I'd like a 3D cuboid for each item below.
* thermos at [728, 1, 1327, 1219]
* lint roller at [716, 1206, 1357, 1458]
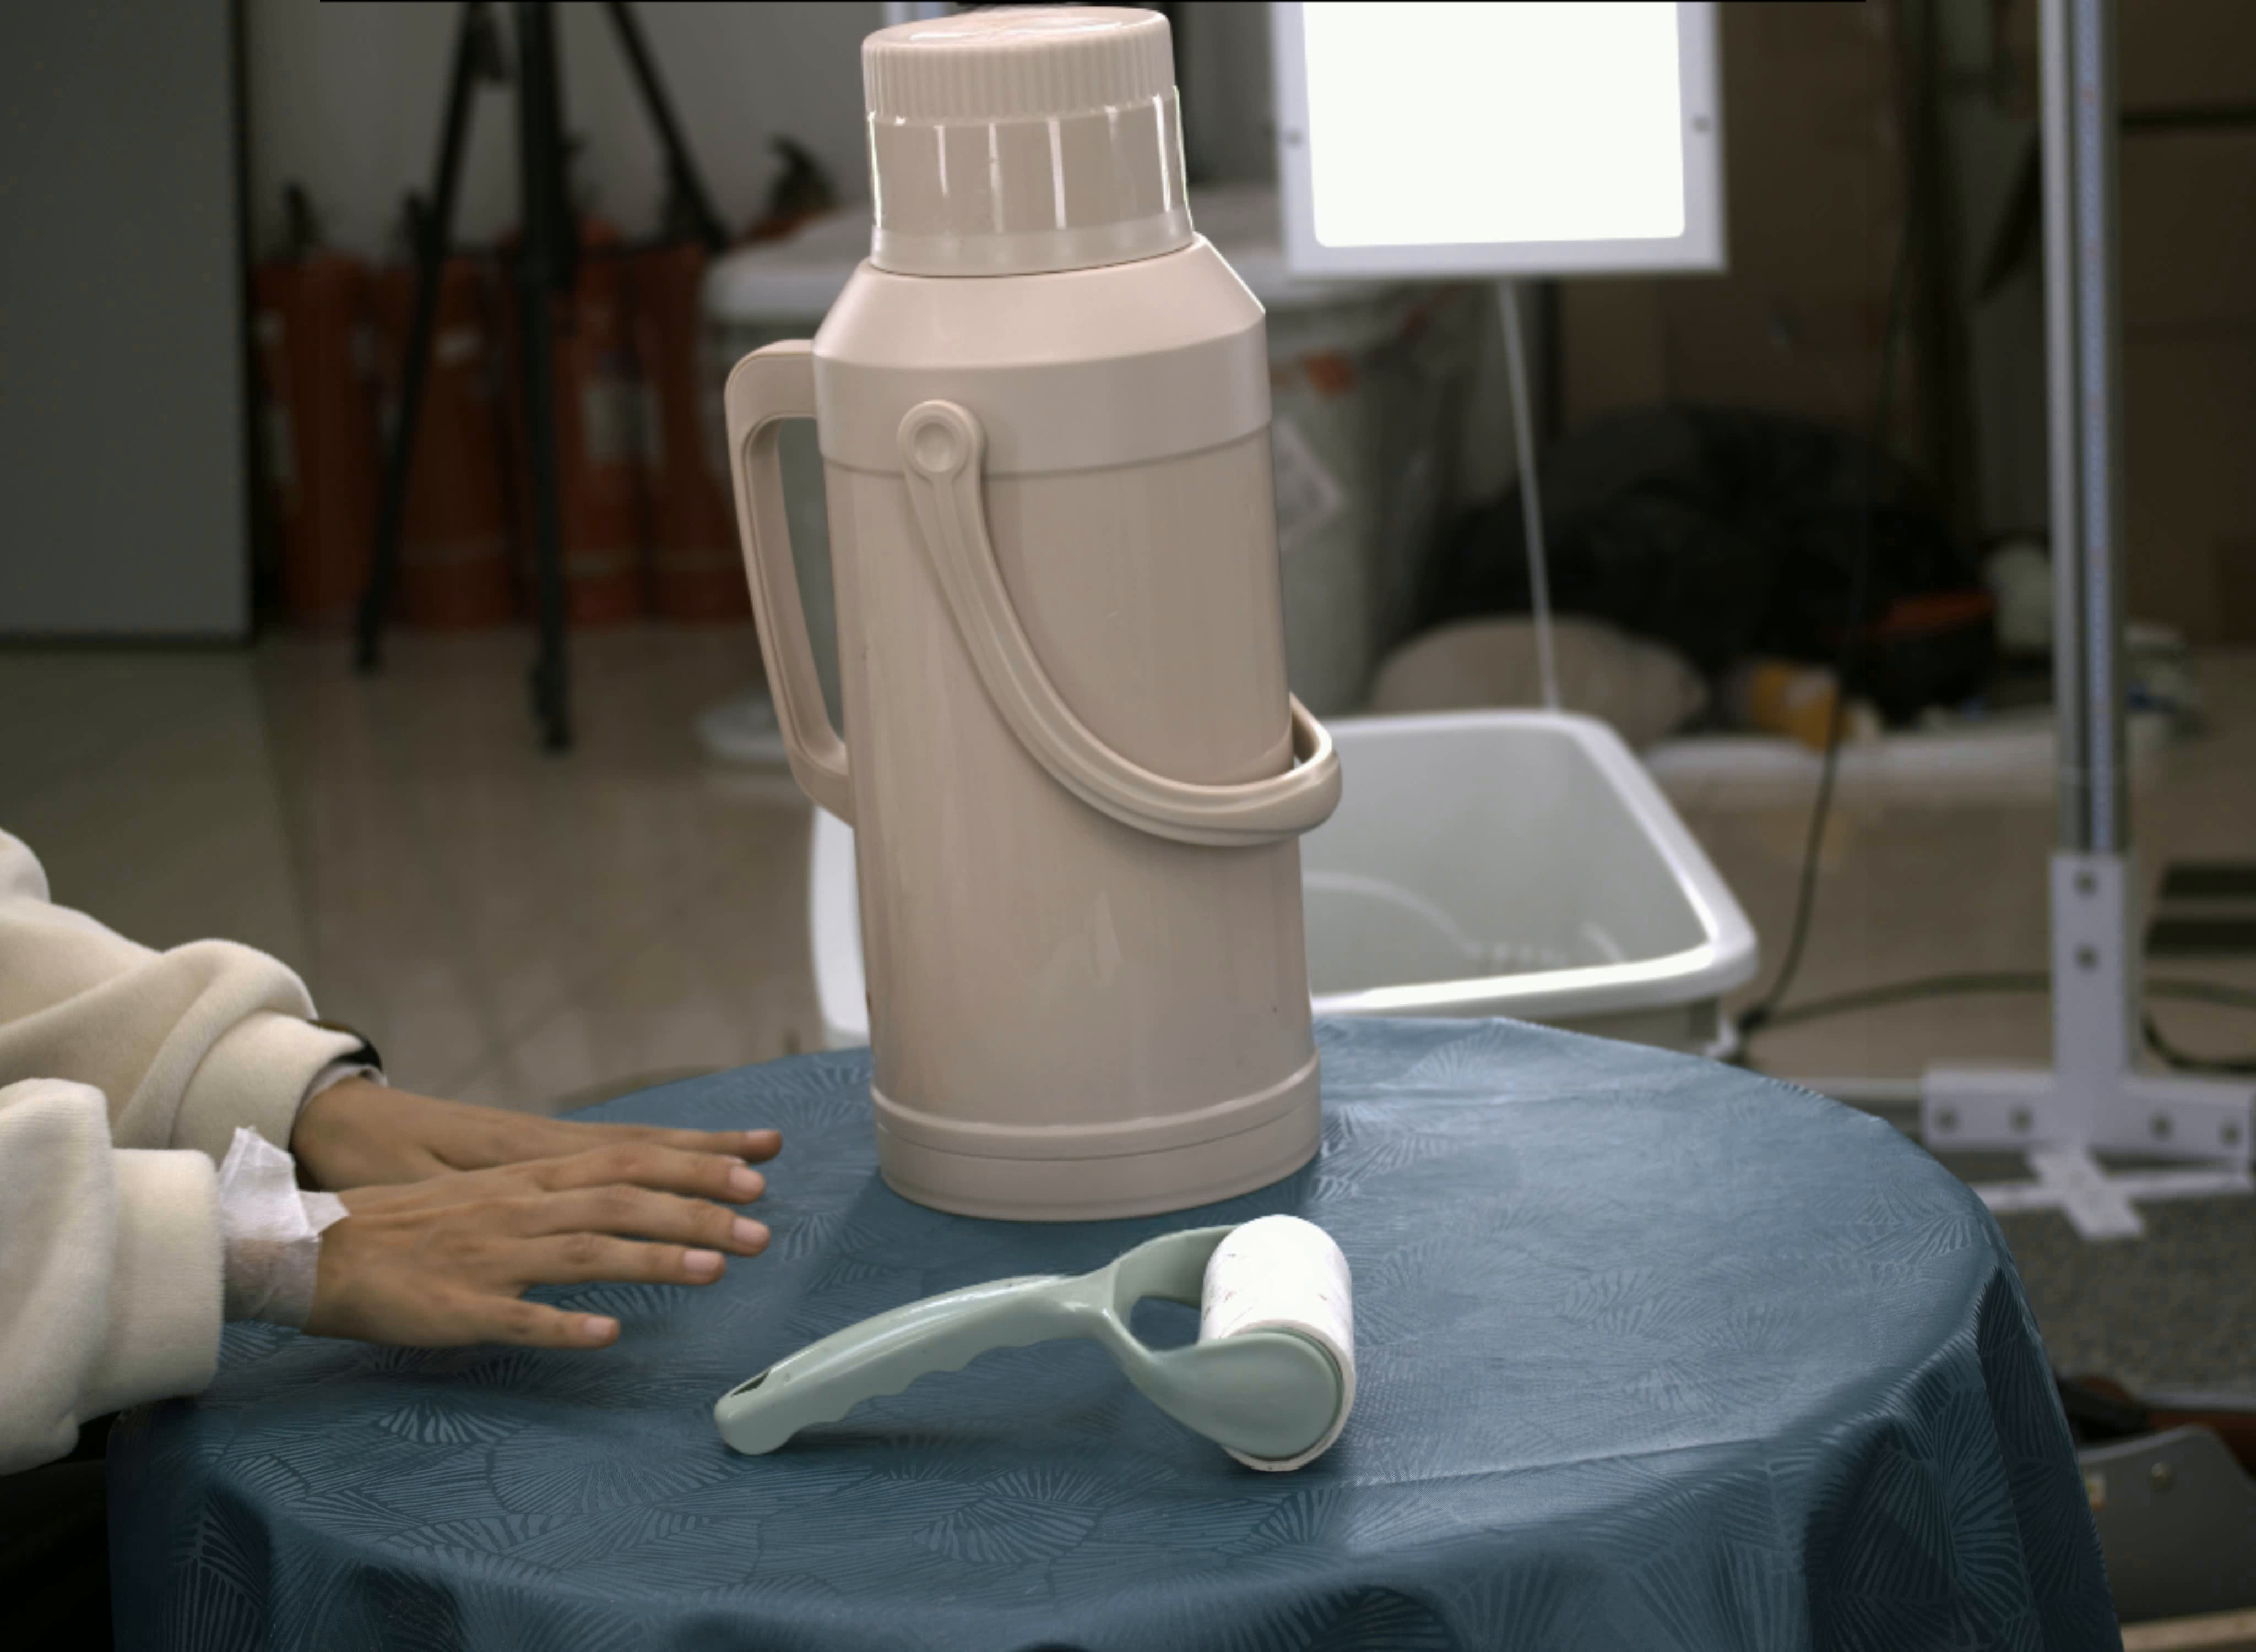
[{"bbox_3d":[-0.036,-0.076,1.905,0.210,0.408,0.172,2,16,25],"label":"thermos"},{"bbox_3d":[-0.029,0.159,1.678,0.198,0.049,0.116,-4,15,5],"label":"lint roller"}]
